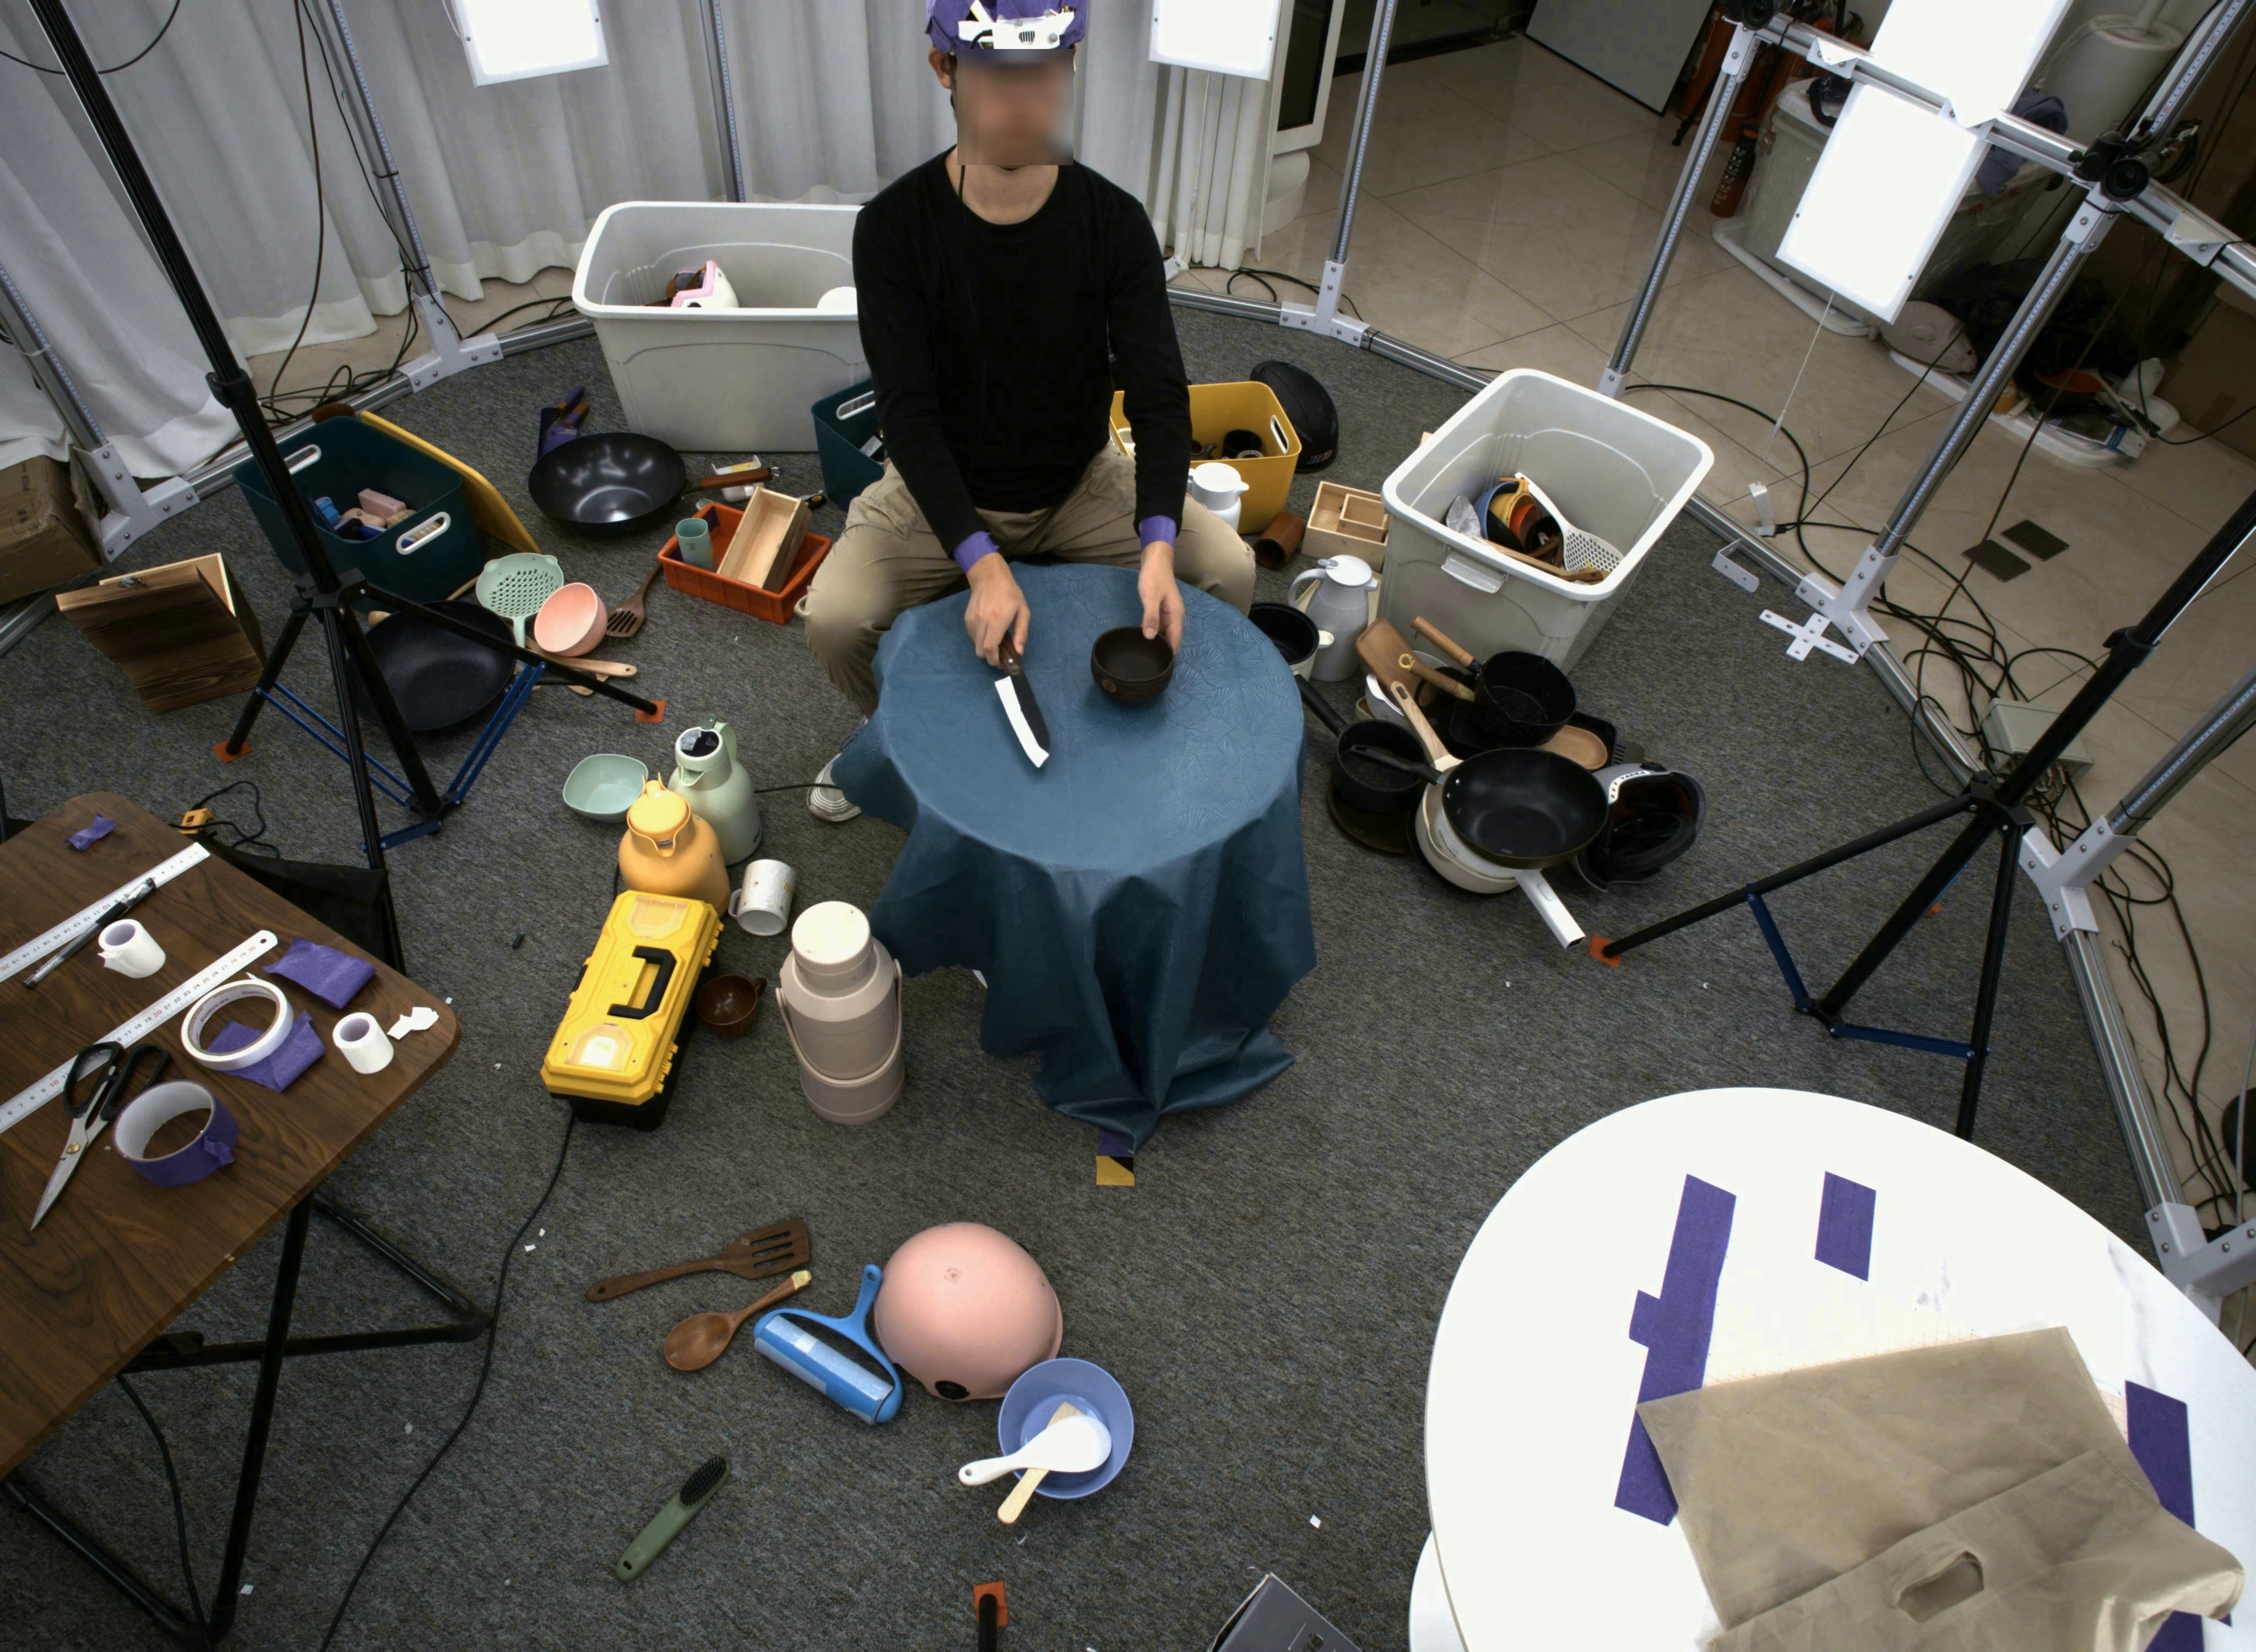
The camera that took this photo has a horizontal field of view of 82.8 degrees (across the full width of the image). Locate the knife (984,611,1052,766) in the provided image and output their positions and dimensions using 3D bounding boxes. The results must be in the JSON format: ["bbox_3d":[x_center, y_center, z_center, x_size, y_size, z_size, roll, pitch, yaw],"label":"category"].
[{"bbox_3d":[-0.156,-0.195,1.788,0.050,0.019,0.296,-21,55,1],"label":"knife"}]

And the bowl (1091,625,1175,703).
[{"bbox_3d":[0.006,-0.221,1.814,0.118,0.068,0.121,2,48,-2],"label":"bowl"}]
